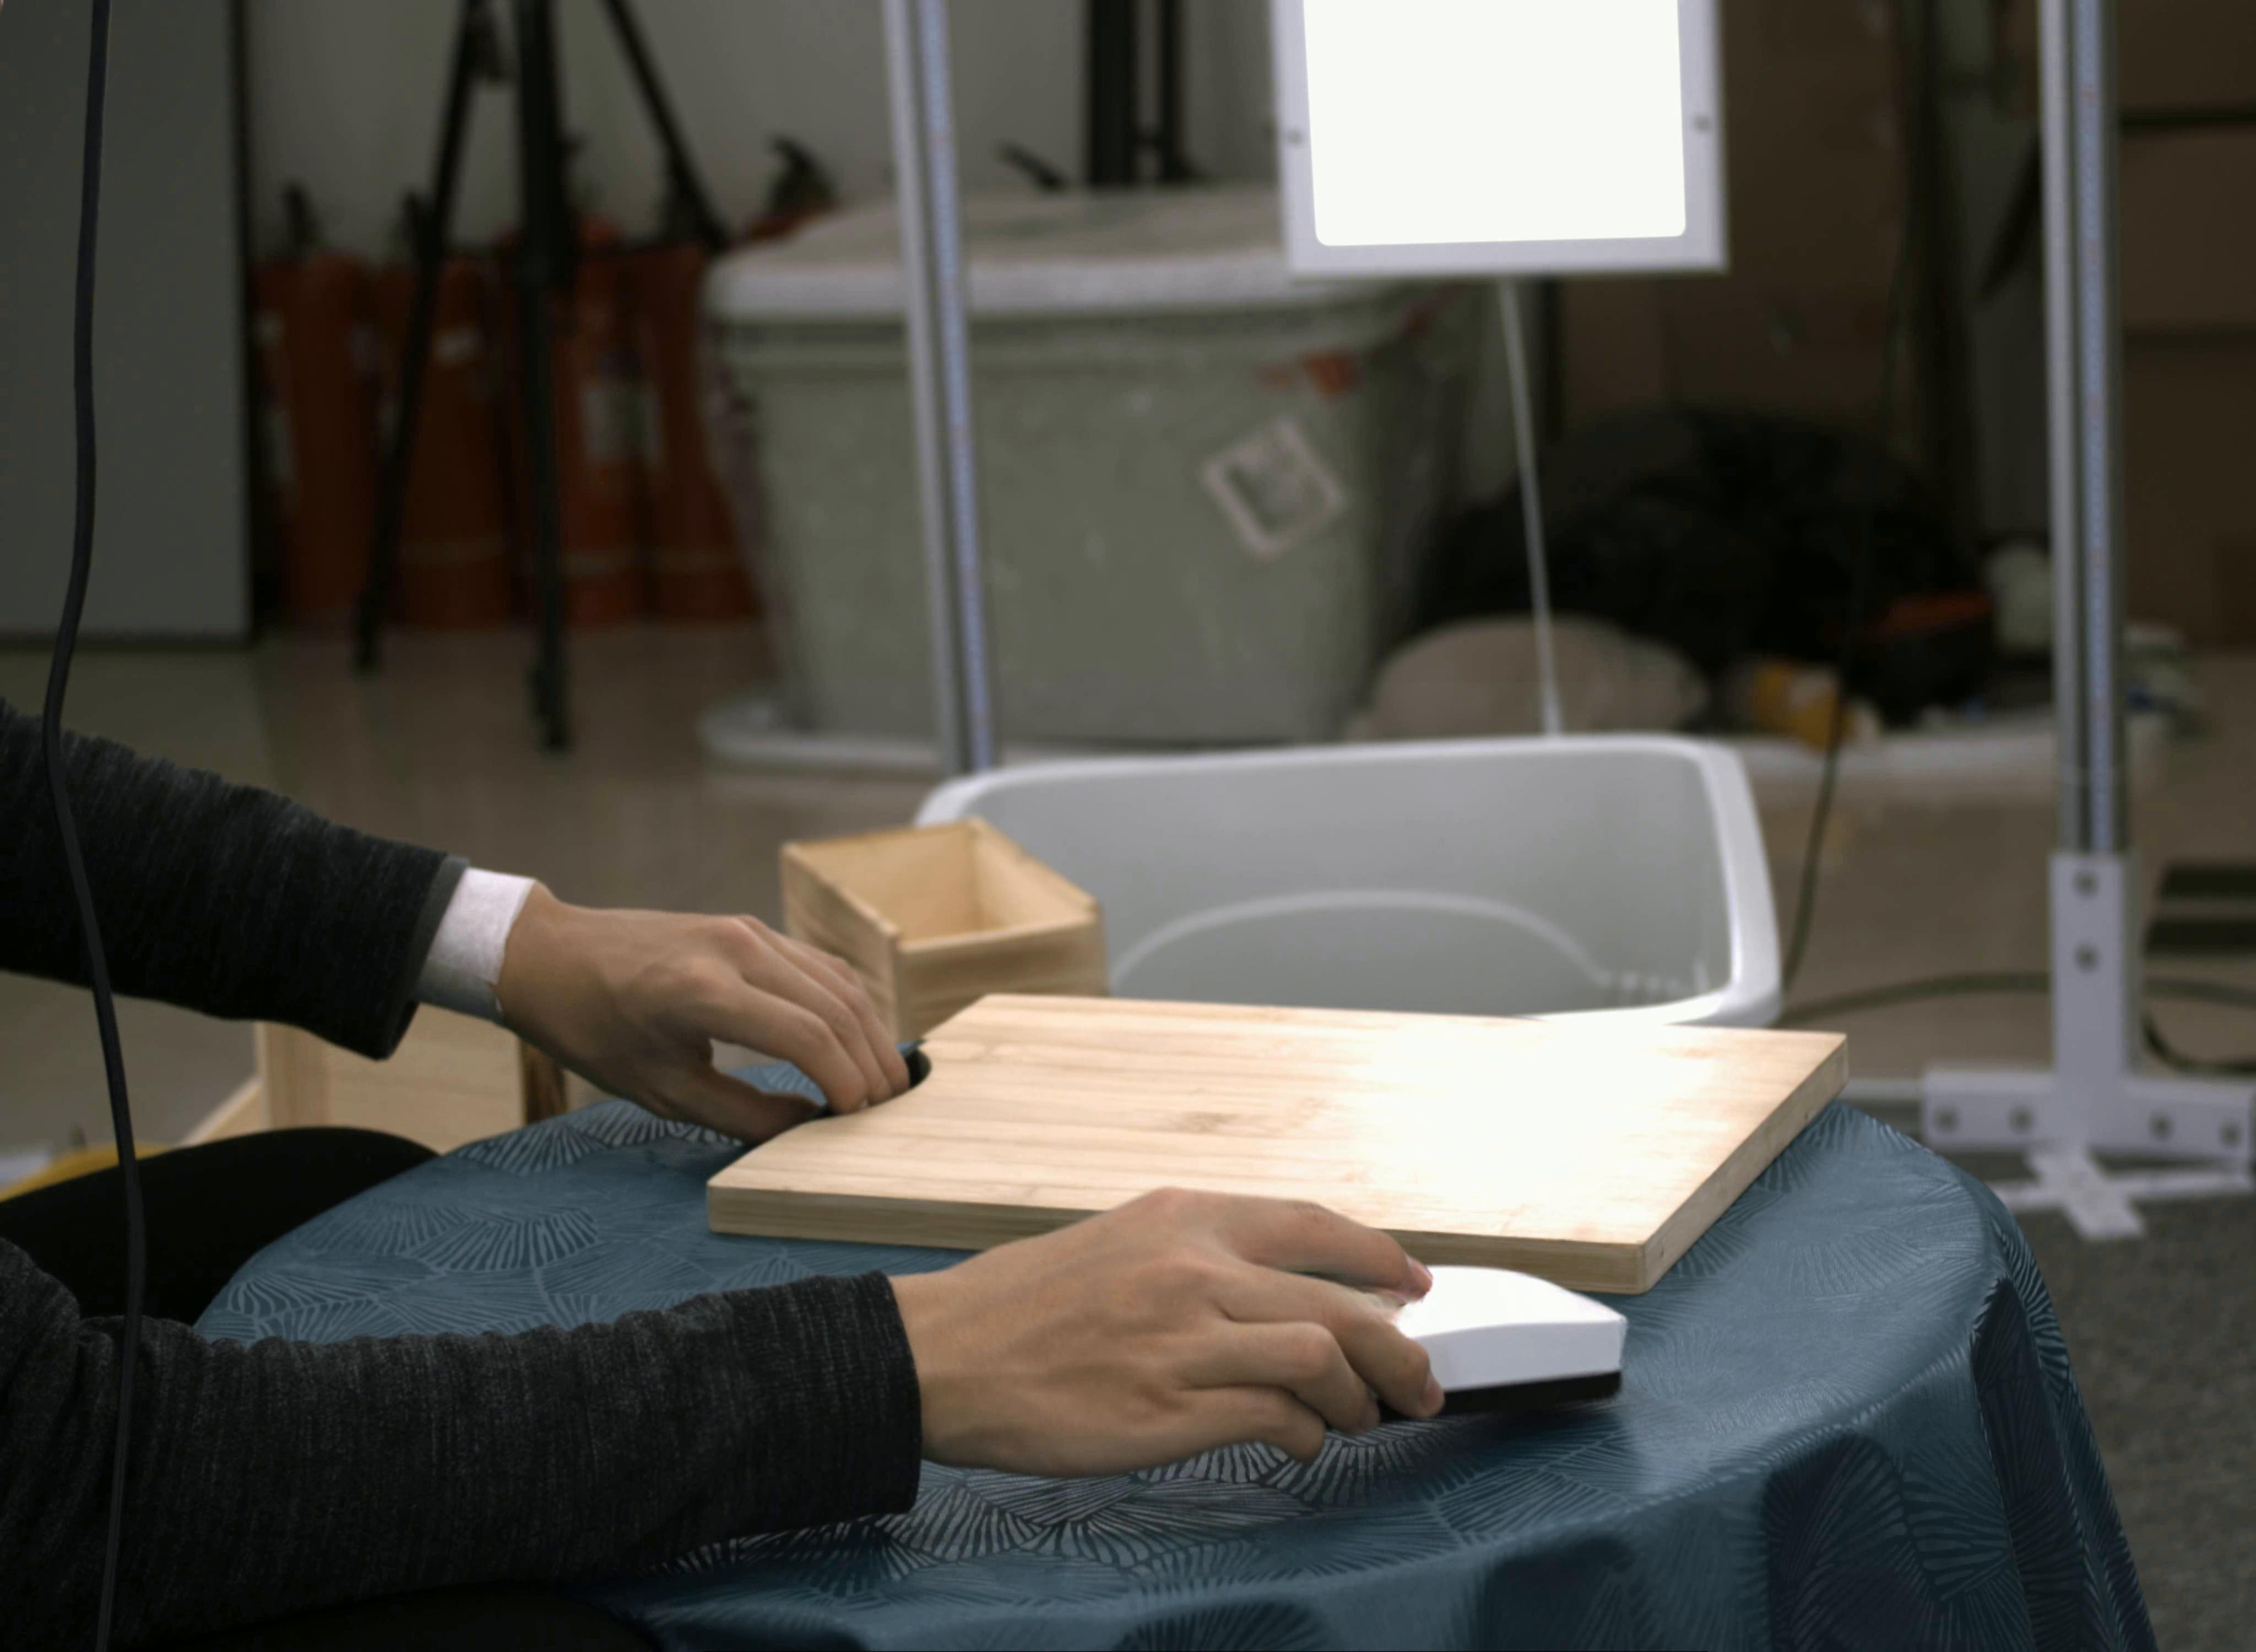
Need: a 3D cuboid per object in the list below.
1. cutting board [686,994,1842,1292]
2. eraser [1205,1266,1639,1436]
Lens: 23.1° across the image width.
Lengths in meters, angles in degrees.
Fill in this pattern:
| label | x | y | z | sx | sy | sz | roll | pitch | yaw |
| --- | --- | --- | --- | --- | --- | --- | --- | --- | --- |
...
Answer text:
| label | x | y | z | sx | sy | sz | roll | pitch | yaw |
| --- | --- | --- | --- | --- | --- | --- | --- | --- | --- |
| cutting board | 0.051 | 0.107 | 1.925 | 0.354 | 0.023 | 0.246 | 1 | 15 | 25 |
| eraser | 0.087 | 0.155 | 1.632 | 0.128 | 0.035 | 0.064 | 0 | 12 | -30 |
